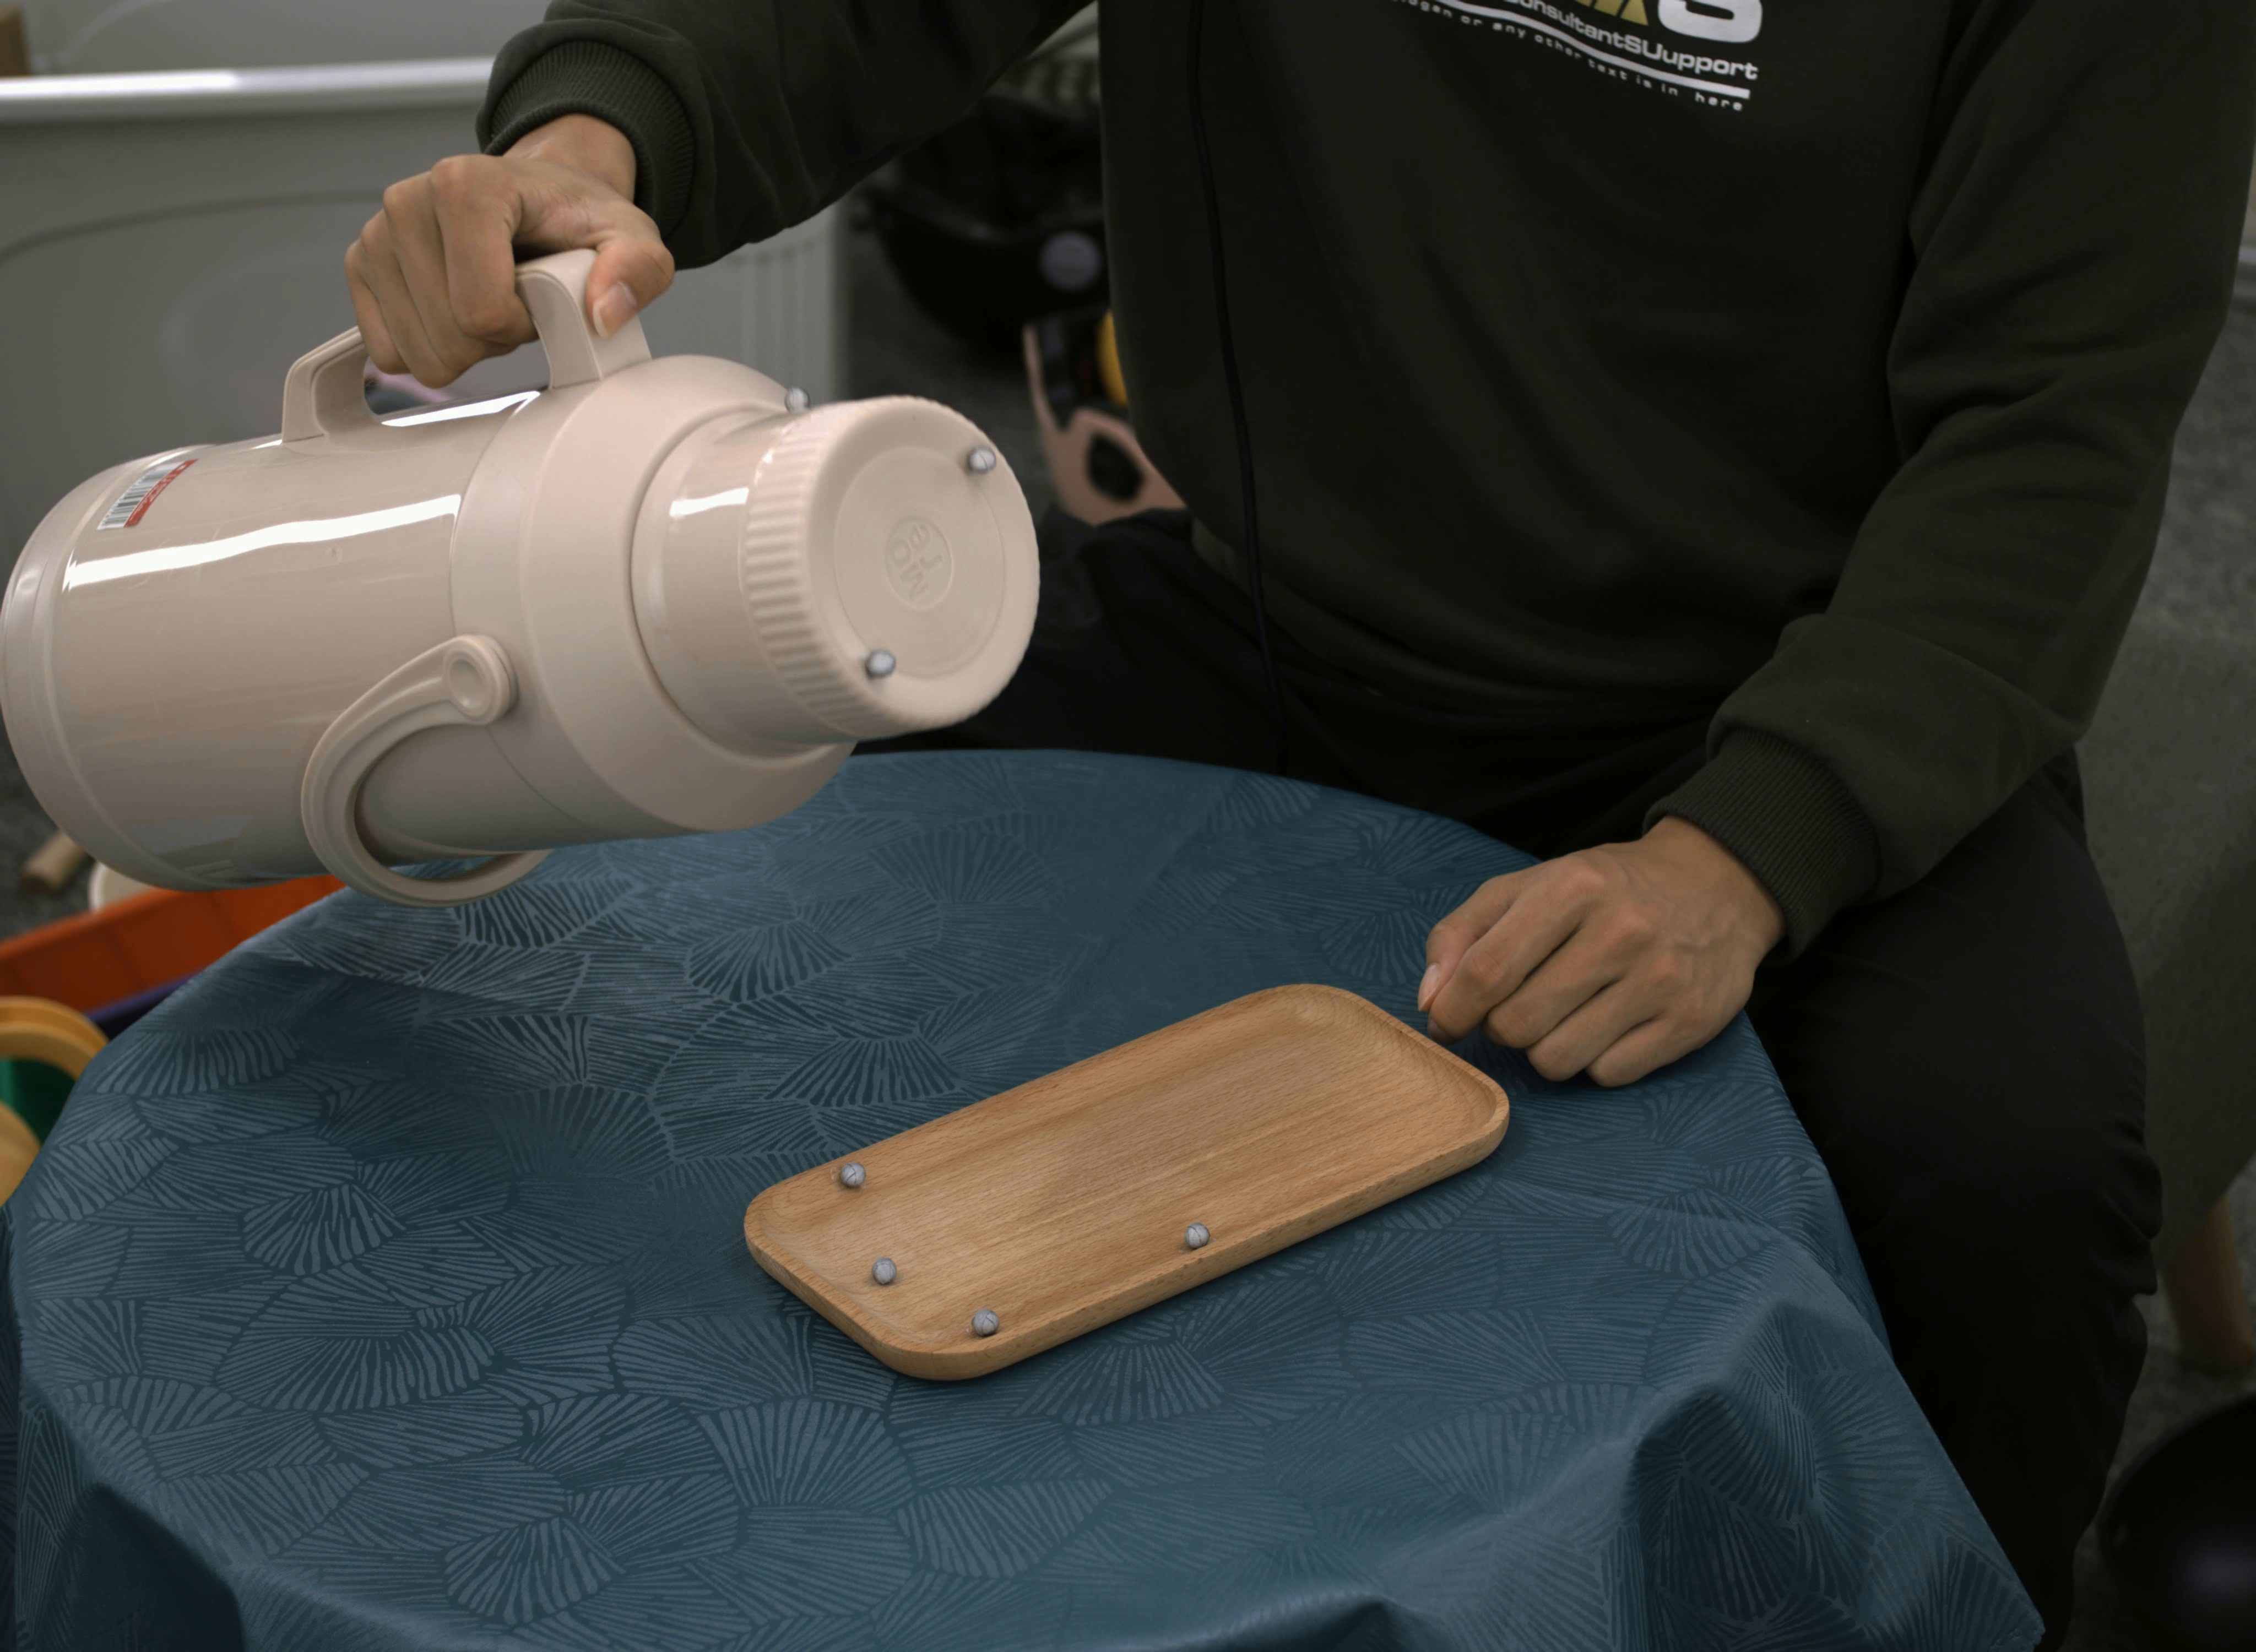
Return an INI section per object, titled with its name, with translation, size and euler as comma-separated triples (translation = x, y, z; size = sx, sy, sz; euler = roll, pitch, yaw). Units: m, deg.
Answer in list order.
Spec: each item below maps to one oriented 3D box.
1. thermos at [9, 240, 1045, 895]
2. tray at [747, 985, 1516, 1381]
[thermos]
translation = -0.205, -0.084, 1.895
size = 0.401, 0.207, 0.177
euler = -7, 14, 46
[tray]
translation = 0.002, 0.116, 1.858
size = 0.253, 0.022, 0.131
euler = -19, 34, -30
